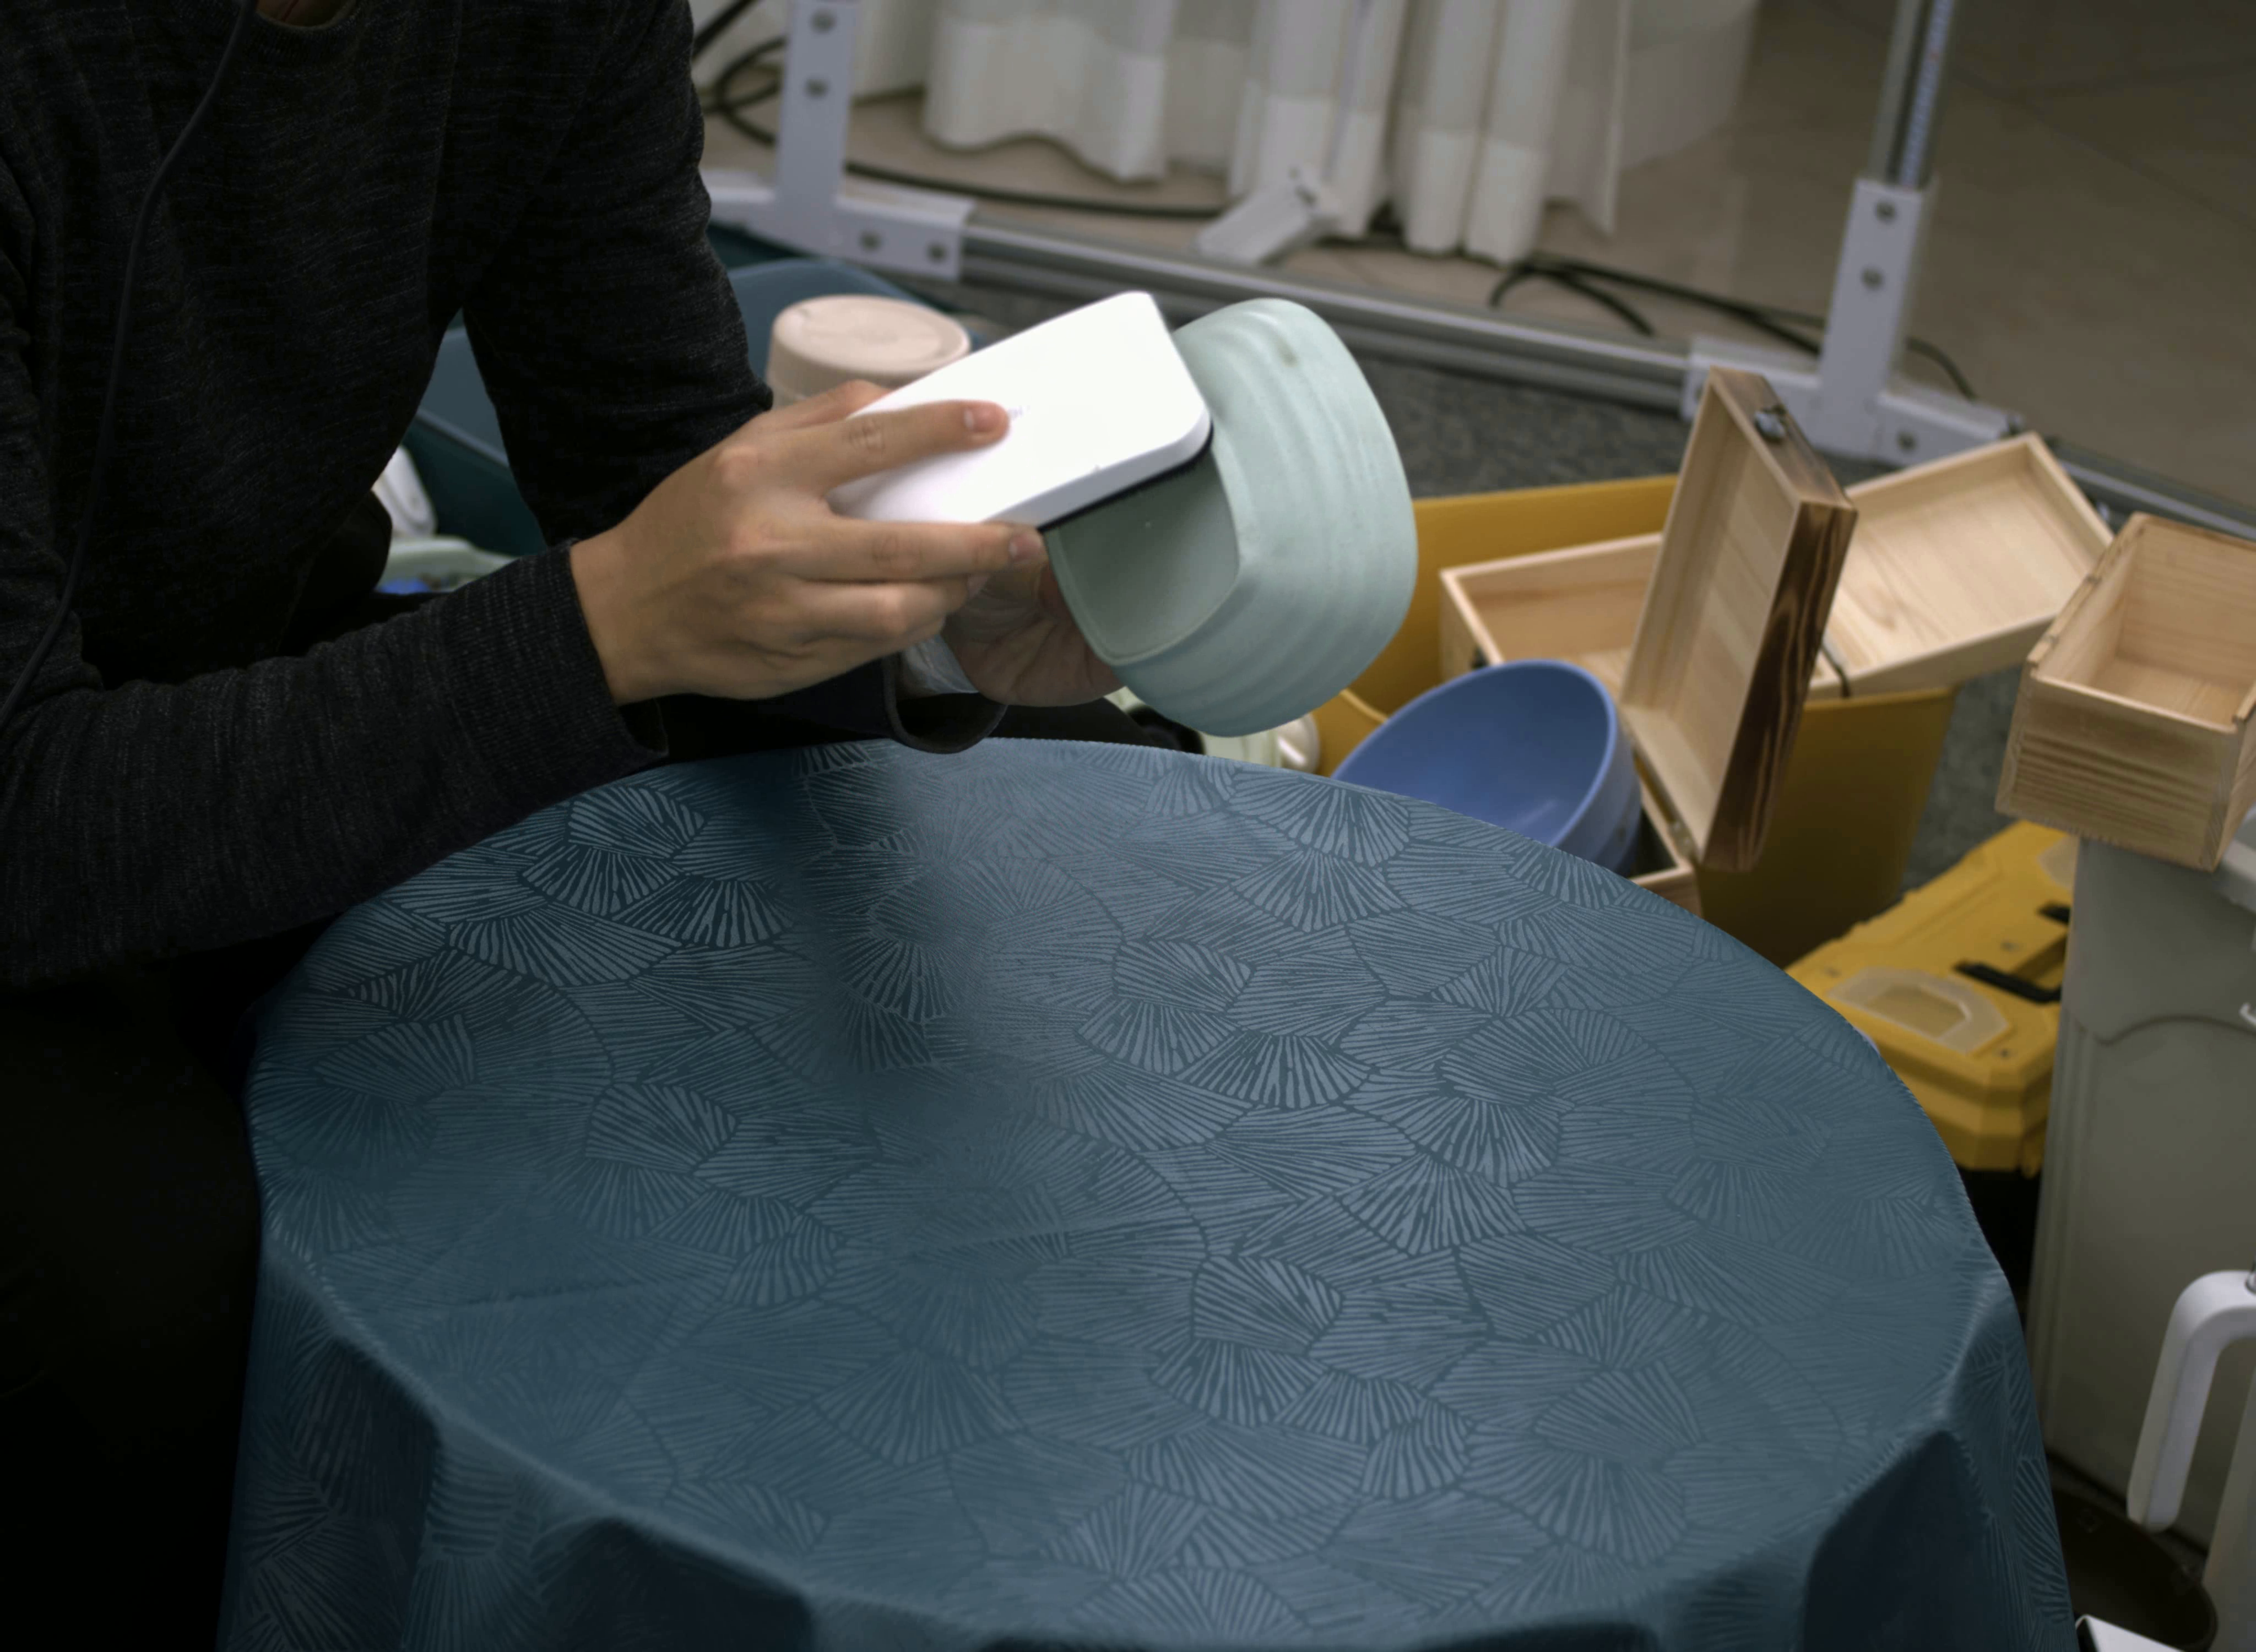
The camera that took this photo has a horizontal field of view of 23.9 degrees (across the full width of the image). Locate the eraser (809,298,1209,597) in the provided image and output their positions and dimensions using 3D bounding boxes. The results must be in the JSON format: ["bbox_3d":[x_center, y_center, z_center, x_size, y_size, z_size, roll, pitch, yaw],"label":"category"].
[{"bbox_3d":[-0.039,-0.124,1.733,0.131,0.034,0.064,-22,60,11],"label":"eraser"}]

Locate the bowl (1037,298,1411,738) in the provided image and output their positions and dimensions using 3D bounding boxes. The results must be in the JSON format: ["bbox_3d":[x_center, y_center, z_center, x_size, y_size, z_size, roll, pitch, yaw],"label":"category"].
[{"bbox_3d":[0.021,-0.101,1.771,0.058,0.151,0.152,-6,28,-44],"label":"bowl"}]
